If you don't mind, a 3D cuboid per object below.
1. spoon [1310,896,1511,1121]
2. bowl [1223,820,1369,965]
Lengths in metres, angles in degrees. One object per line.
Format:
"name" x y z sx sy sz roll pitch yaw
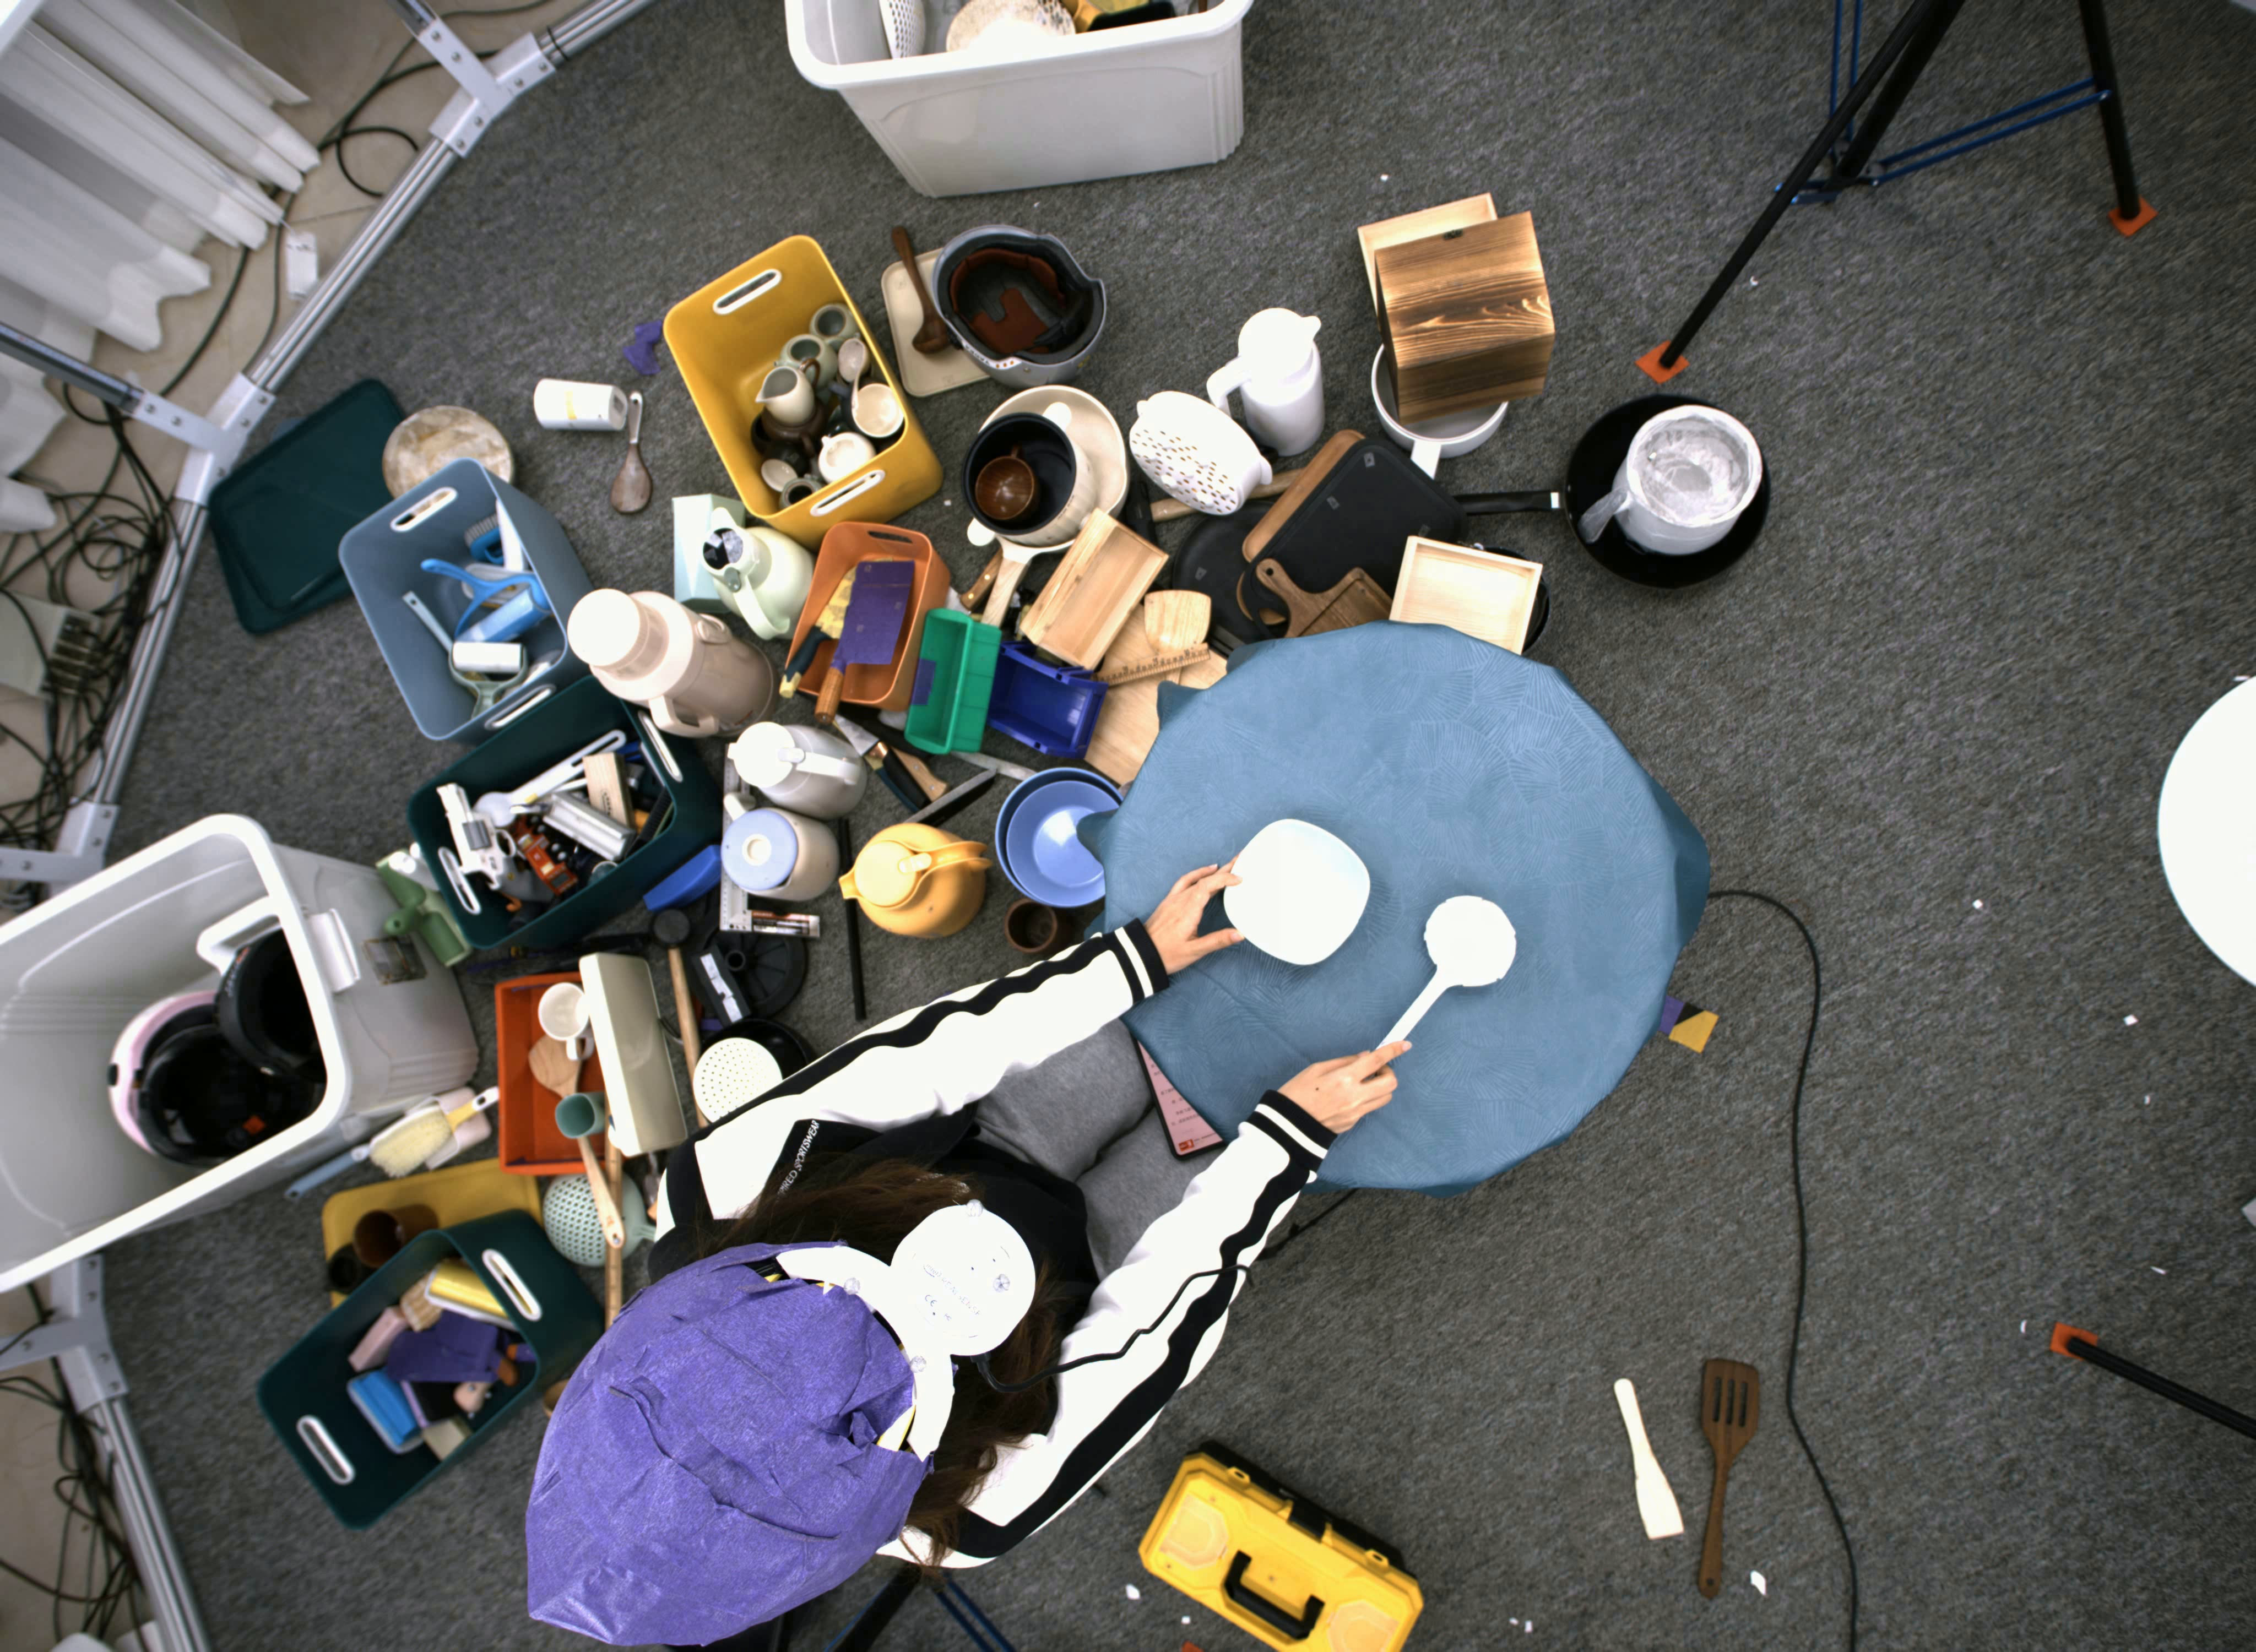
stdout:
"spoon" 0.272 0.185 1.393 0.277 0.060 0.100 -47 65 -1
"bowl" 0.176 0.070 1.451 0.152 0.058 0.151 -1 86 10
